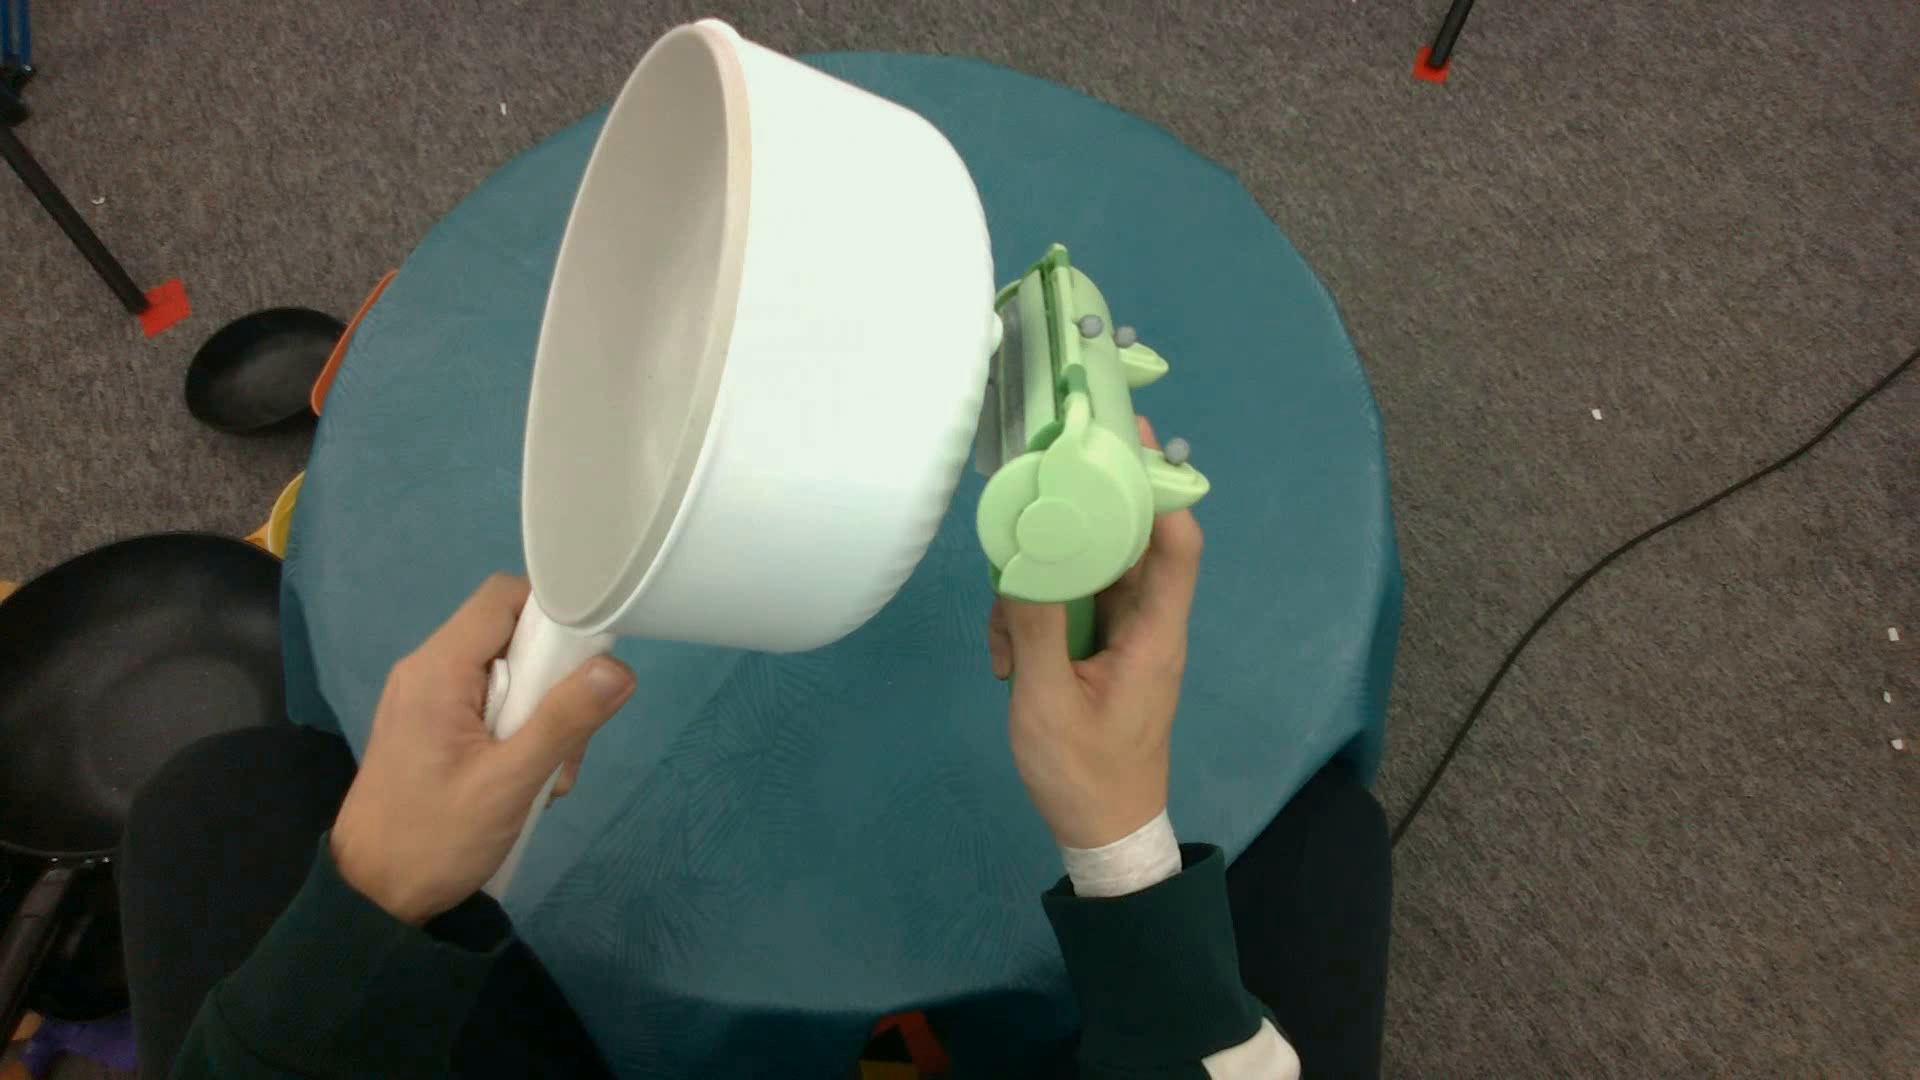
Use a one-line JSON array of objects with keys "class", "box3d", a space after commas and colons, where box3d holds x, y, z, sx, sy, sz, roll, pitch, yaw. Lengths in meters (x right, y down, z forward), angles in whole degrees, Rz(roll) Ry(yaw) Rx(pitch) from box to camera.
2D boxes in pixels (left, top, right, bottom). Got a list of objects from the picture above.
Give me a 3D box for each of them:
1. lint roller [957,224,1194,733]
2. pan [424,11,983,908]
[{"class": "lint roller", "box3d": [0.044, -0.008, 0.520, 0.082, 0.183, 0.199, -12, 26, 5]}, {"class": "pan", "box3d": [-0.107, -0.003, 0.507, 0.102, 0.353, 0.201, 9, 29, -32]}]
